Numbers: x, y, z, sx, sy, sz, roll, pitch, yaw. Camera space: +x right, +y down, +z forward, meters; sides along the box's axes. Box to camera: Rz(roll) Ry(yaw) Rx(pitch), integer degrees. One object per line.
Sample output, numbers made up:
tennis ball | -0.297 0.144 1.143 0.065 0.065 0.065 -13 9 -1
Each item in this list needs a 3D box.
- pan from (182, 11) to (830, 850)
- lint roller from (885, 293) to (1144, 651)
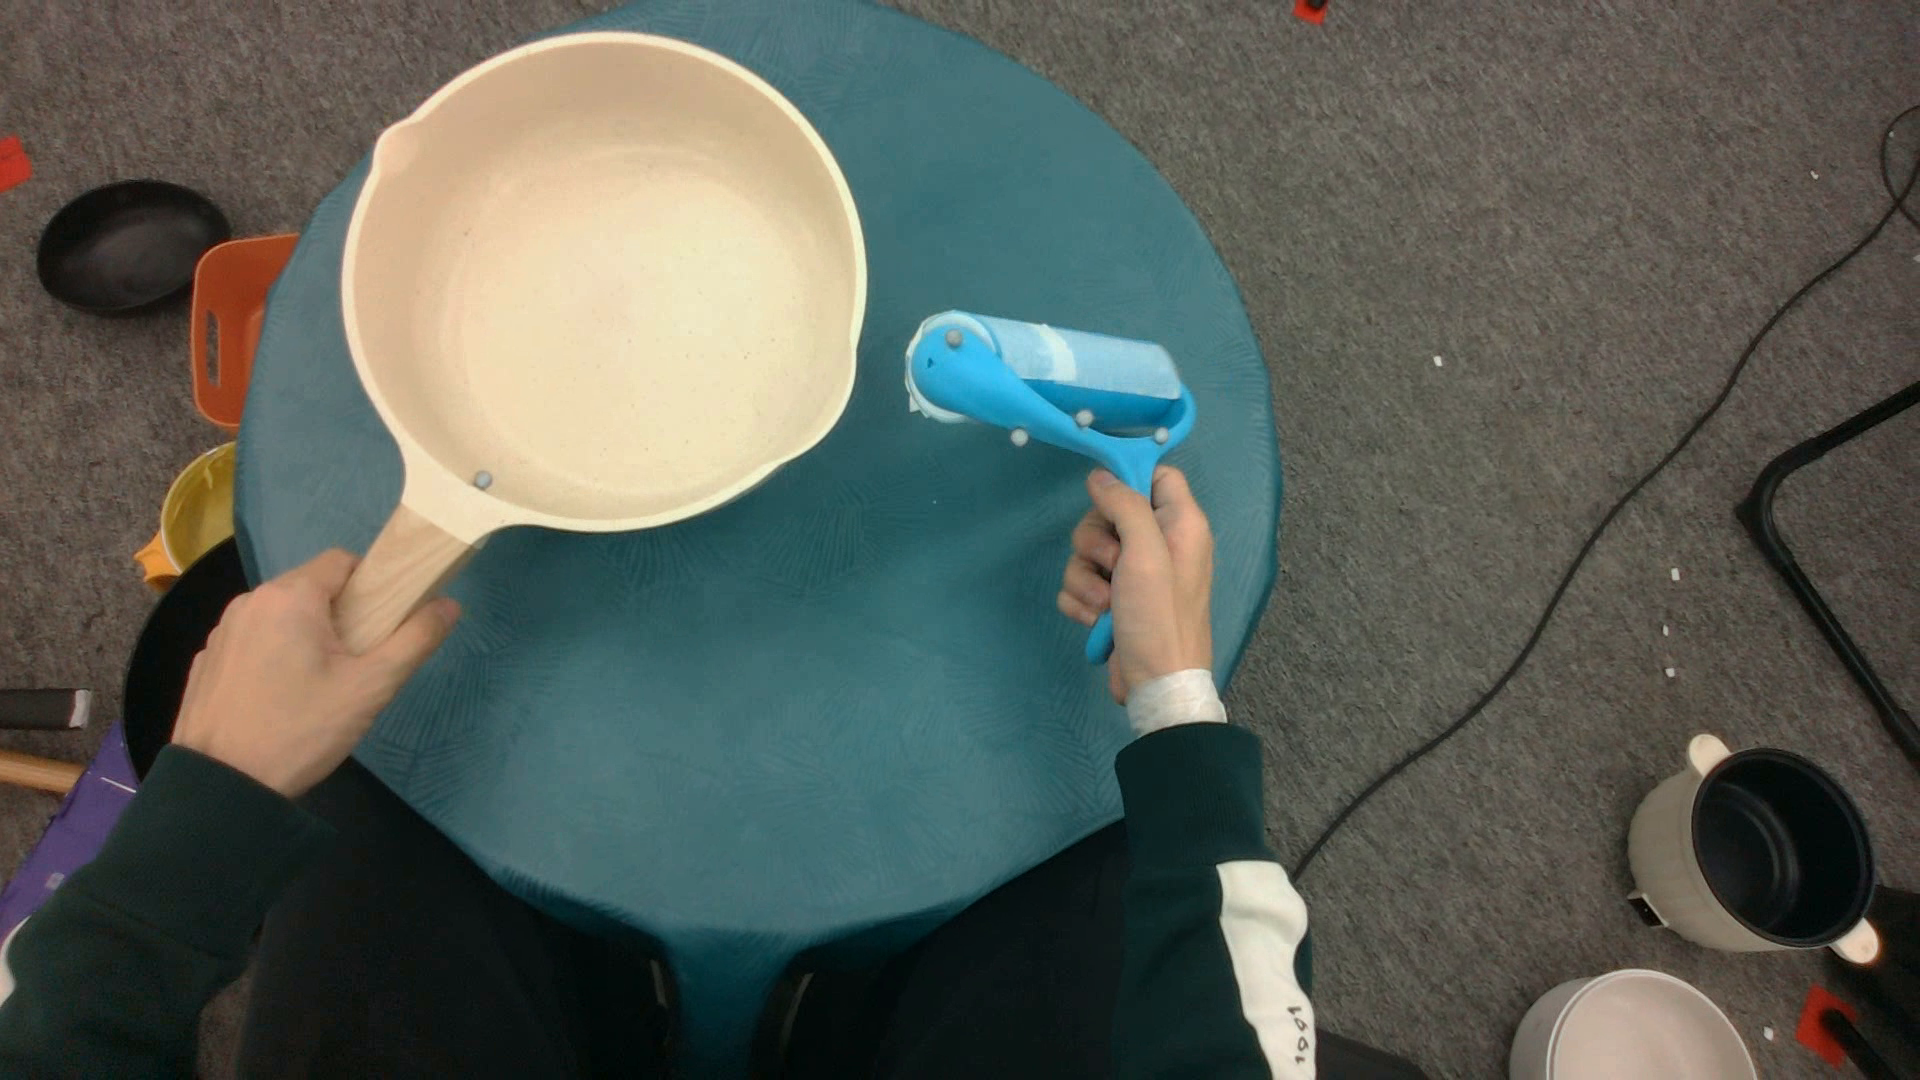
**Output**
pan | -0.233 -0.050 0.678 0.263 0.102 0.435 29 84 2
lint roller | 0.050 -0.037 0.712 0.068 0.229 0.180 -22 86 23
